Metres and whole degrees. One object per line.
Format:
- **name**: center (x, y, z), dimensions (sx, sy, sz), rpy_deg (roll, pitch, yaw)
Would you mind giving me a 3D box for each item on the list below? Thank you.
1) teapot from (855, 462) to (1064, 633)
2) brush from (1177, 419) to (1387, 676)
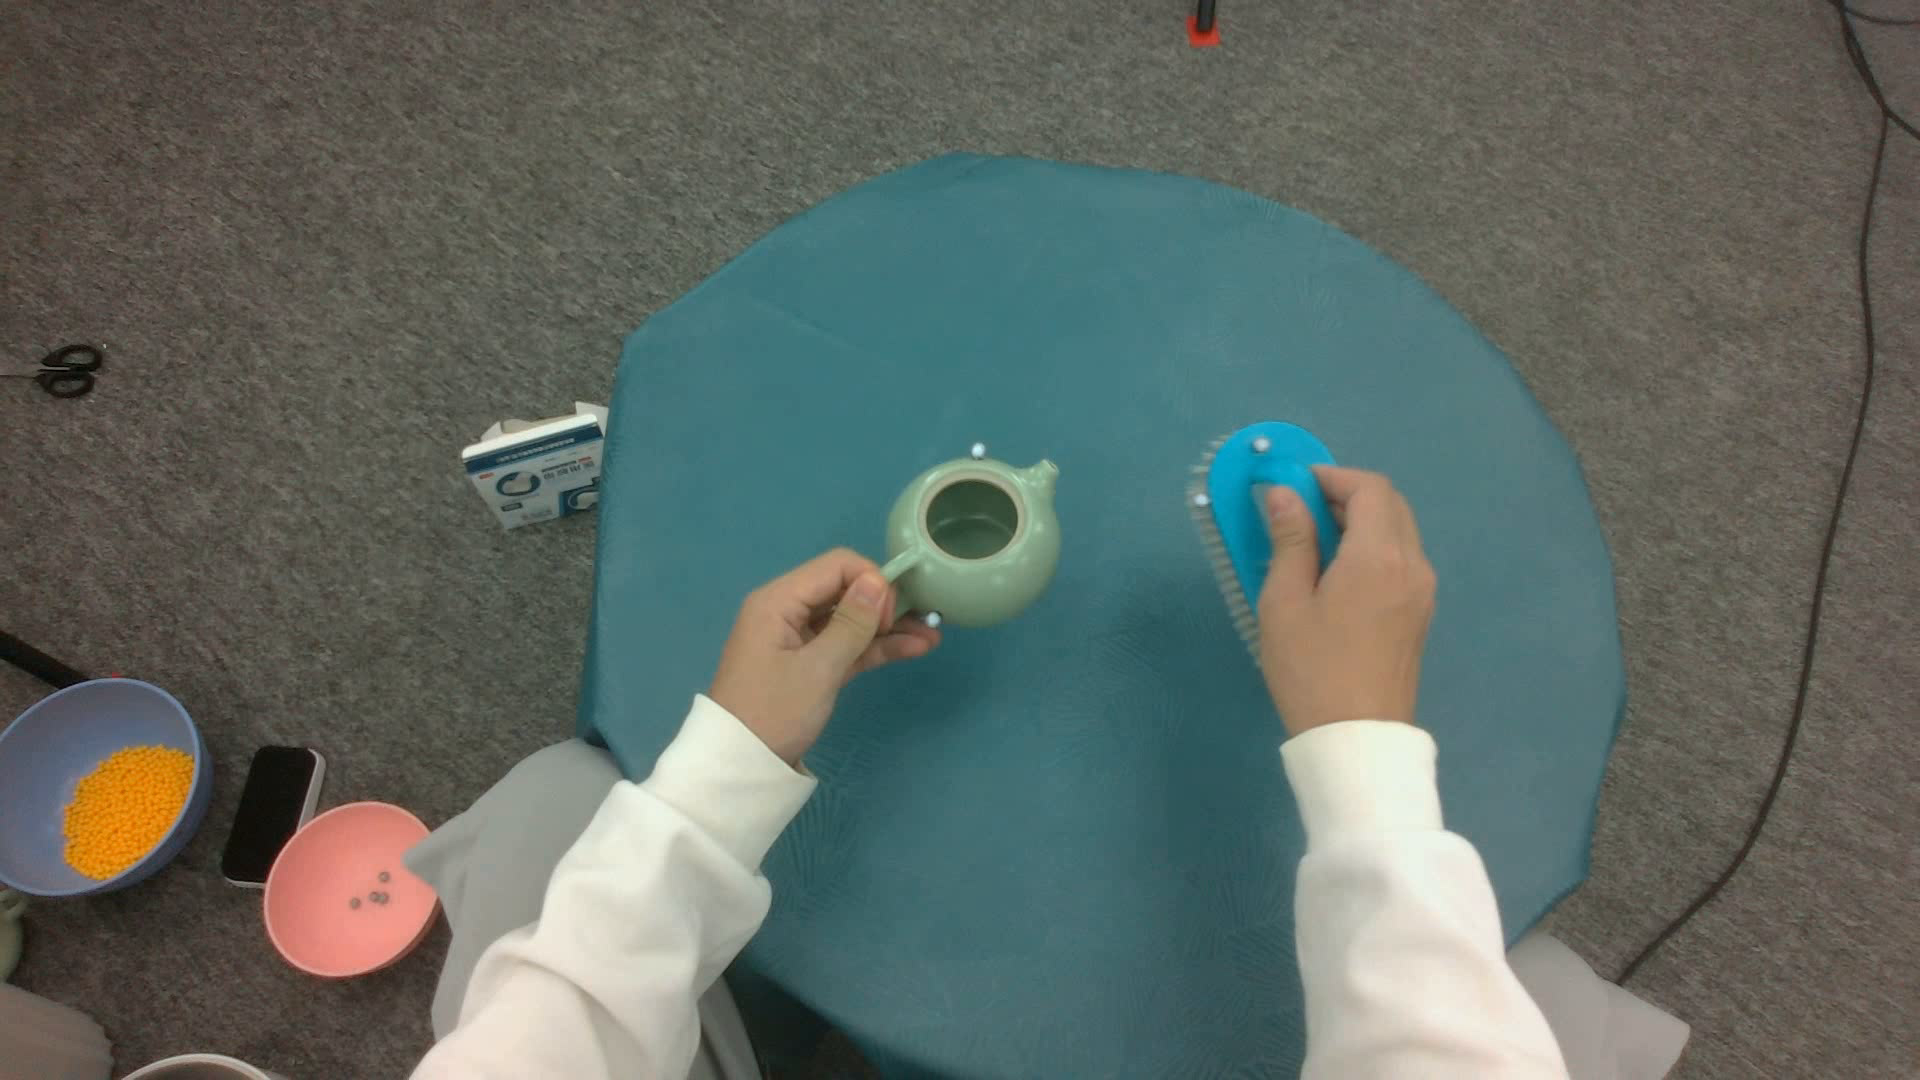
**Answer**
- **teapot**: center (0.001, 0.009, 0.721), dimensions (0.129, 0.061, 0.091), rpy_deg (-31, 66, -14)
- **brush**: center (0.175, 0.001, 0.715), dimensions (0.084, 0.063, 0.142), rpy_deg (-23, 89, -17)
